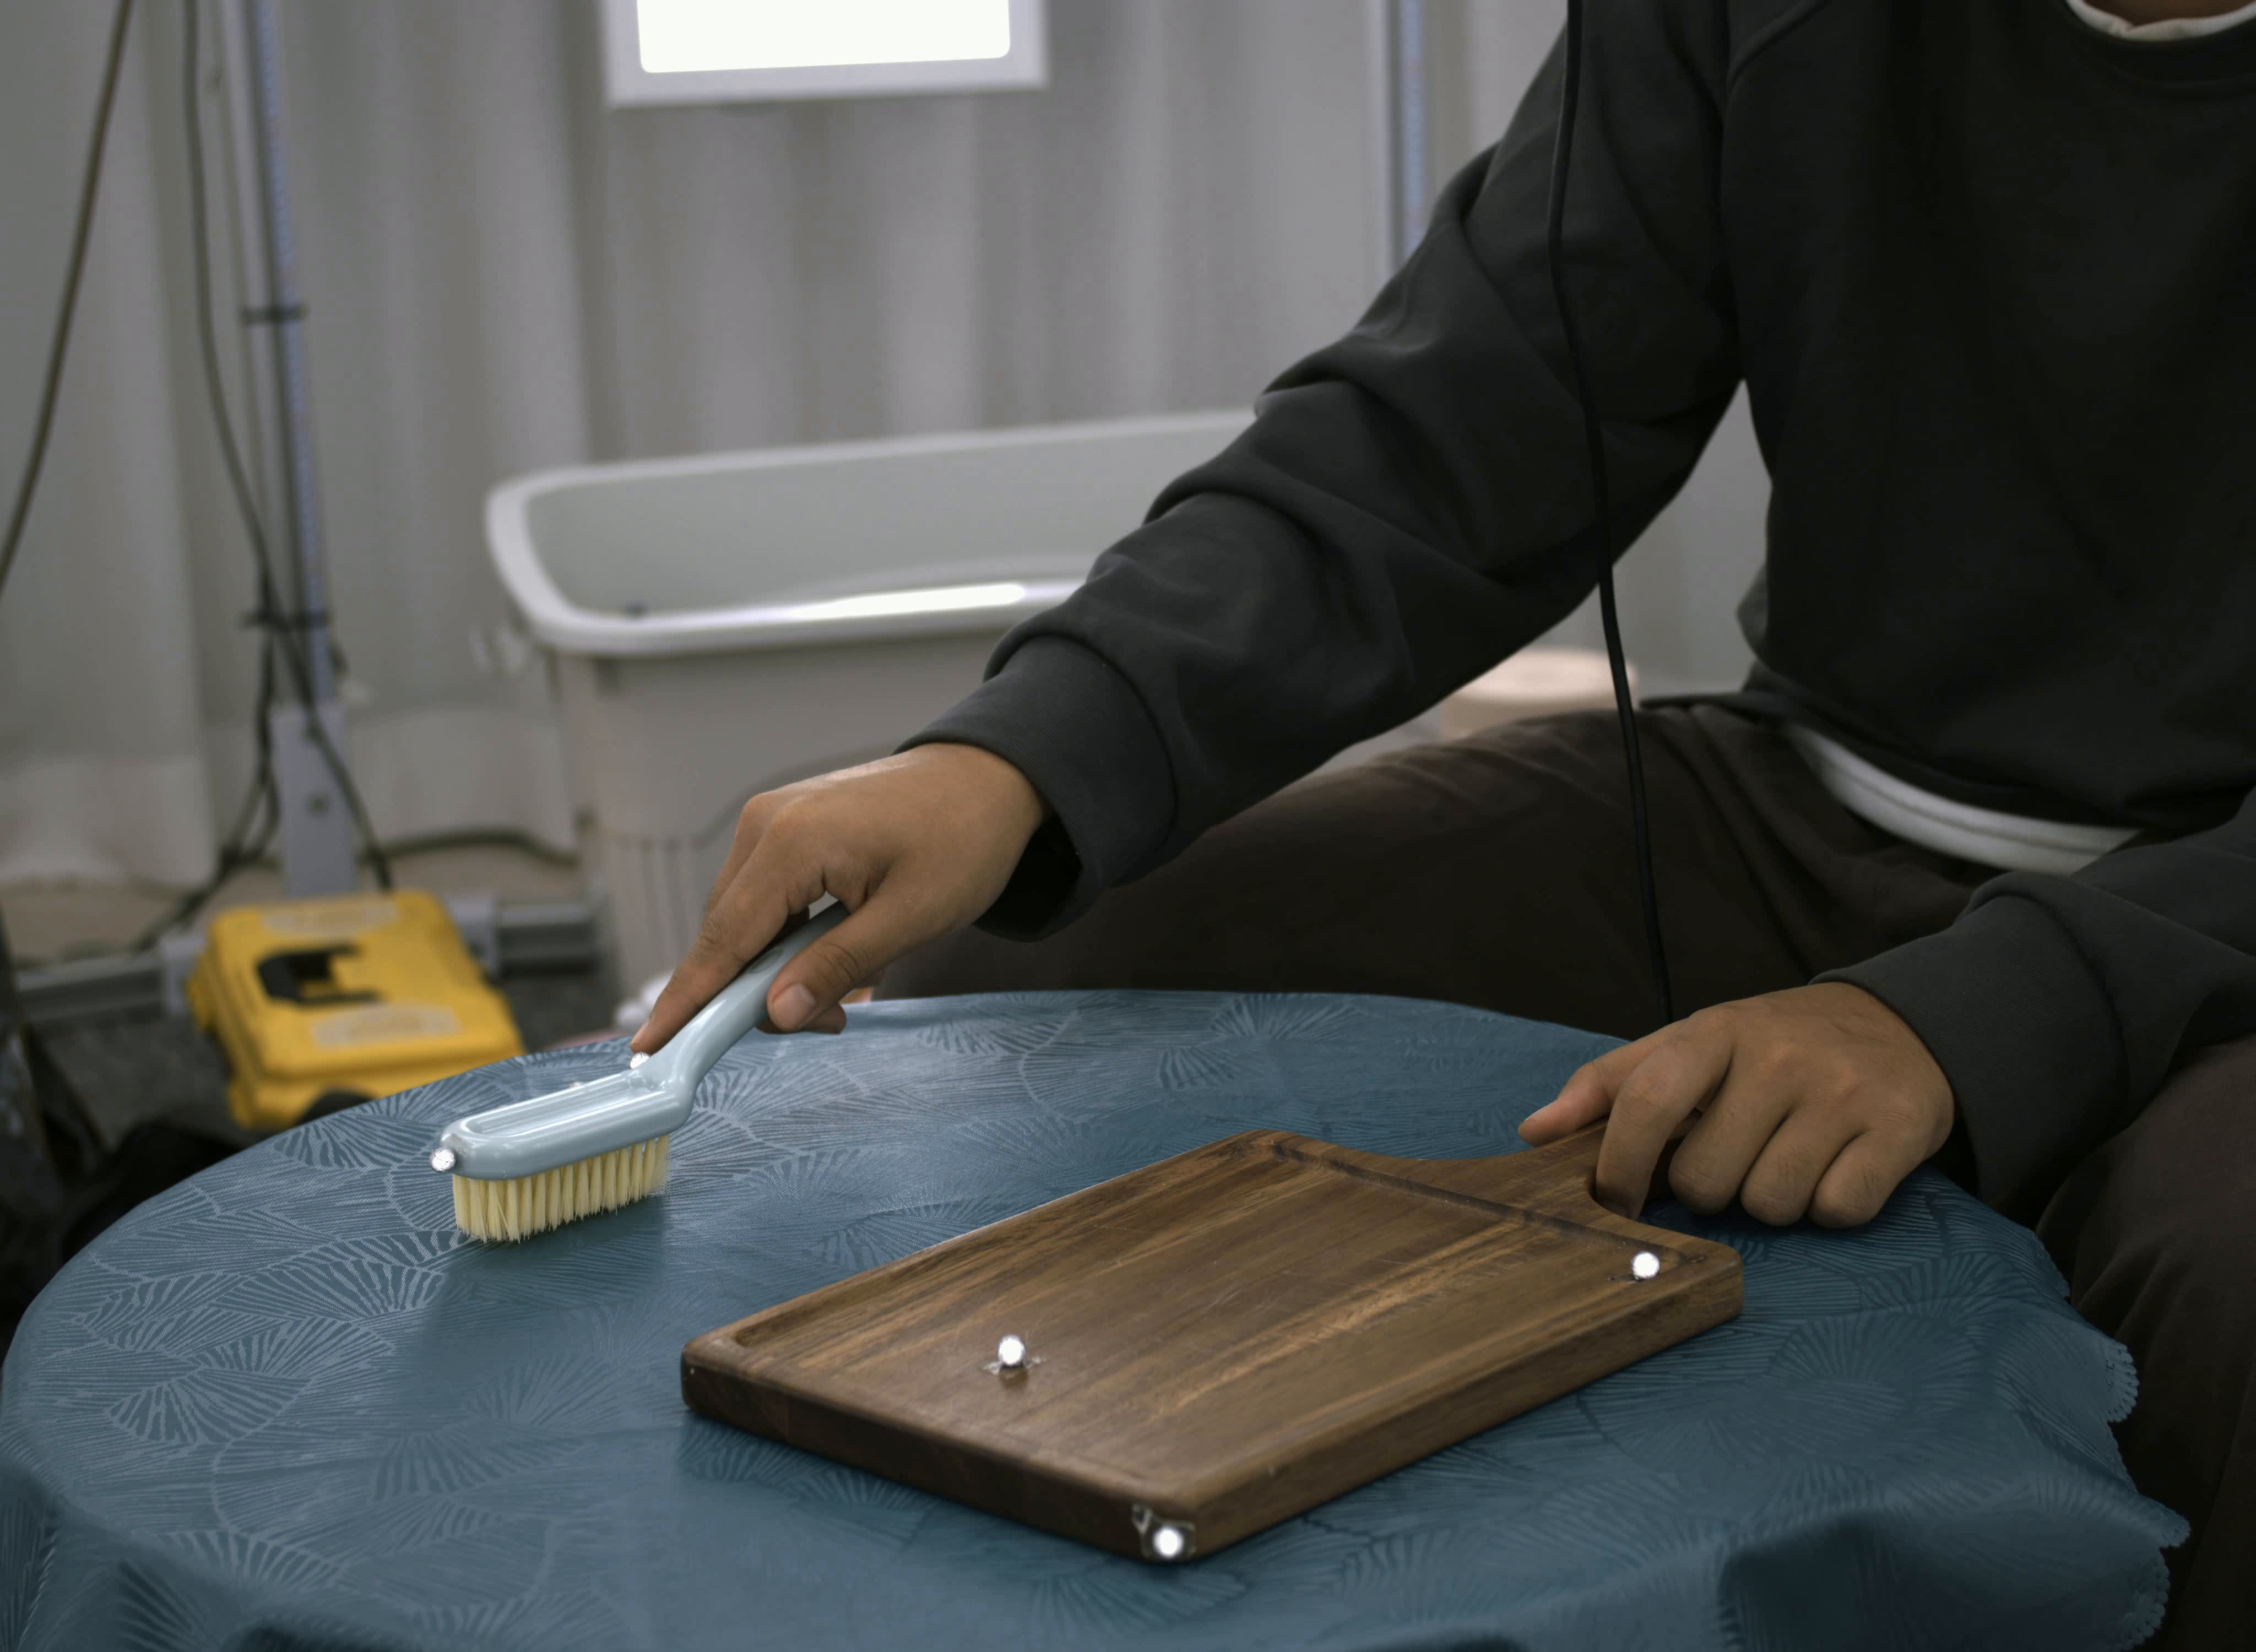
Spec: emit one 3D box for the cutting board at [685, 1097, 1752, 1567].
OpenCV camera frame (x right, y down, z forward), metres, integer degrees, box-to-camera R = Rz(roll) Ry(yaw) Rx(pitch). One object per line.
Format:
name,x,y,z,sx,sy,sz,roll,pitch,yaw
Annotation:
cutting board,0.062,0.133,1.597,0.202,0.023,0.351,12,21,43

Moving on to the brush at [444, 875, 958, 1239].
brush,-0.133,0.073,1.763,0.038,0.049,0.229,10,31,37
